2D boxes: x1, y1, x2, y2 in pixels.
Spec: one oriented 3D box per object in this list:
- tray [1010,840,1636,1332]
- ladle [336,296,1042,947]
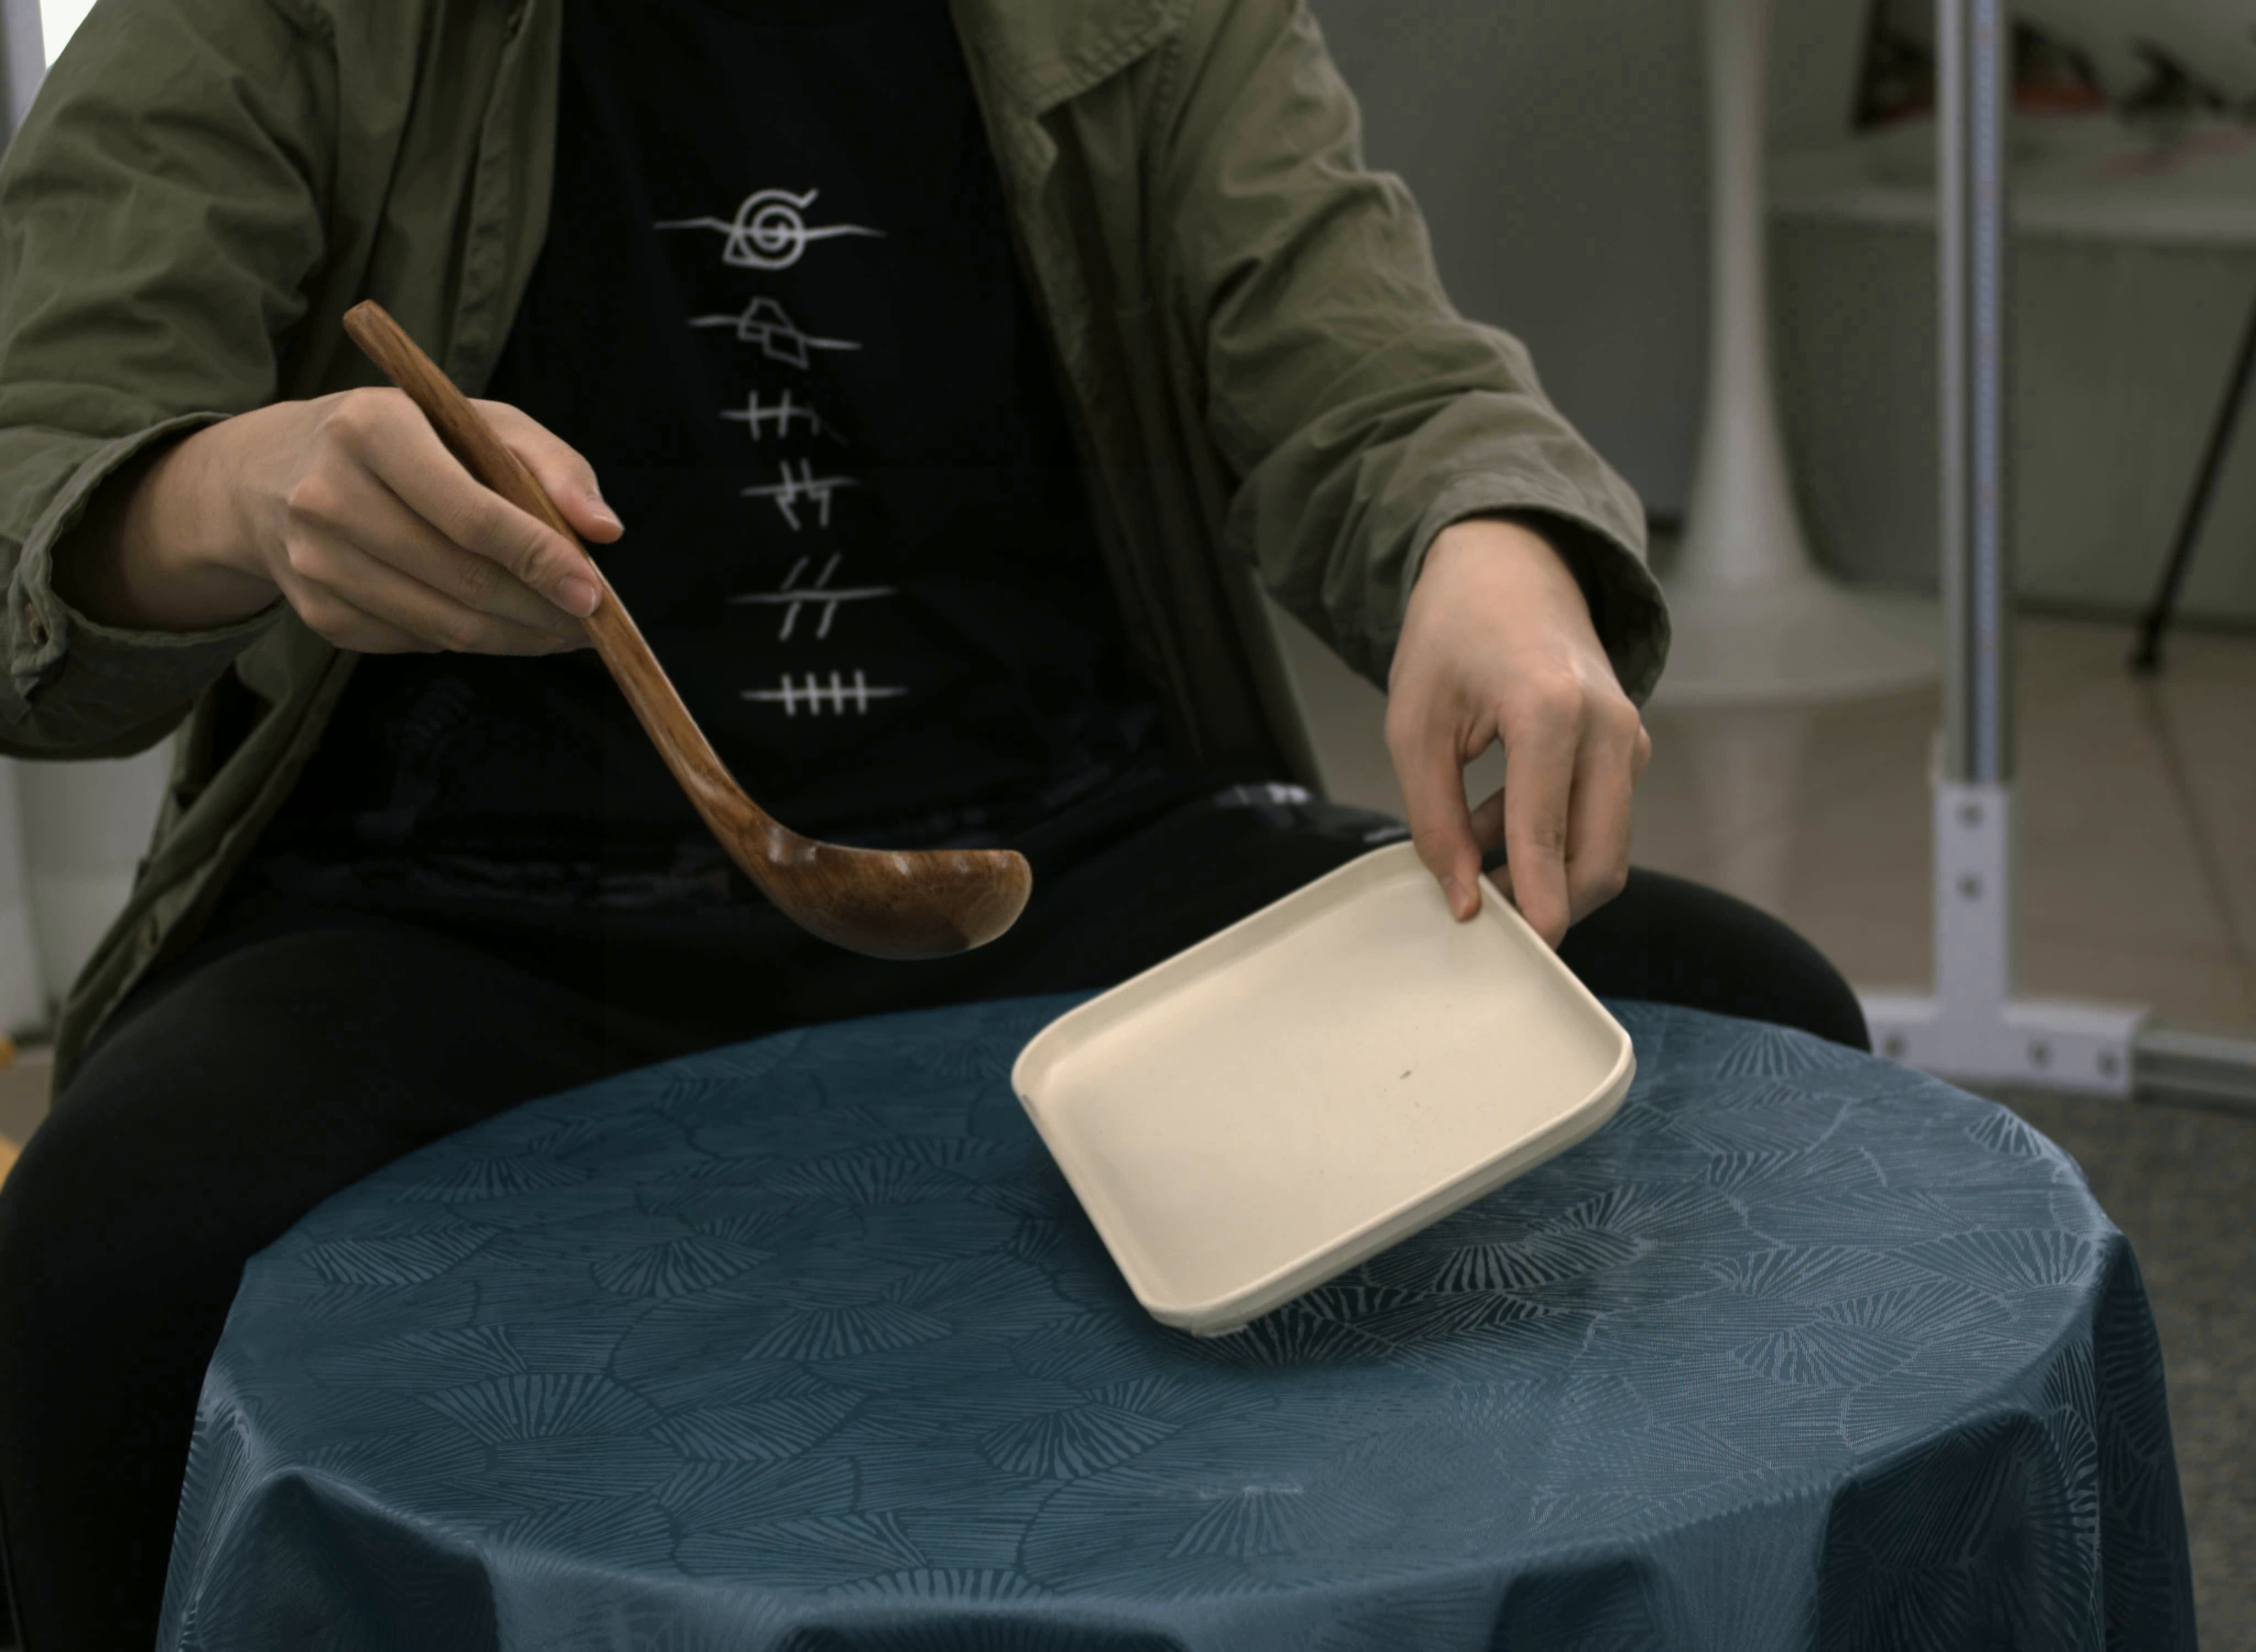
[{"bbox_3d":[0.059,0.080,1.696,0.170,0.017,0.241,-29,22,-3],"label":"tray"},{"bbox_3d":[-0.131,-0.071,1.641,0.076,0.276,0.082,-36,-9,-8],"label":"ladle"}]
